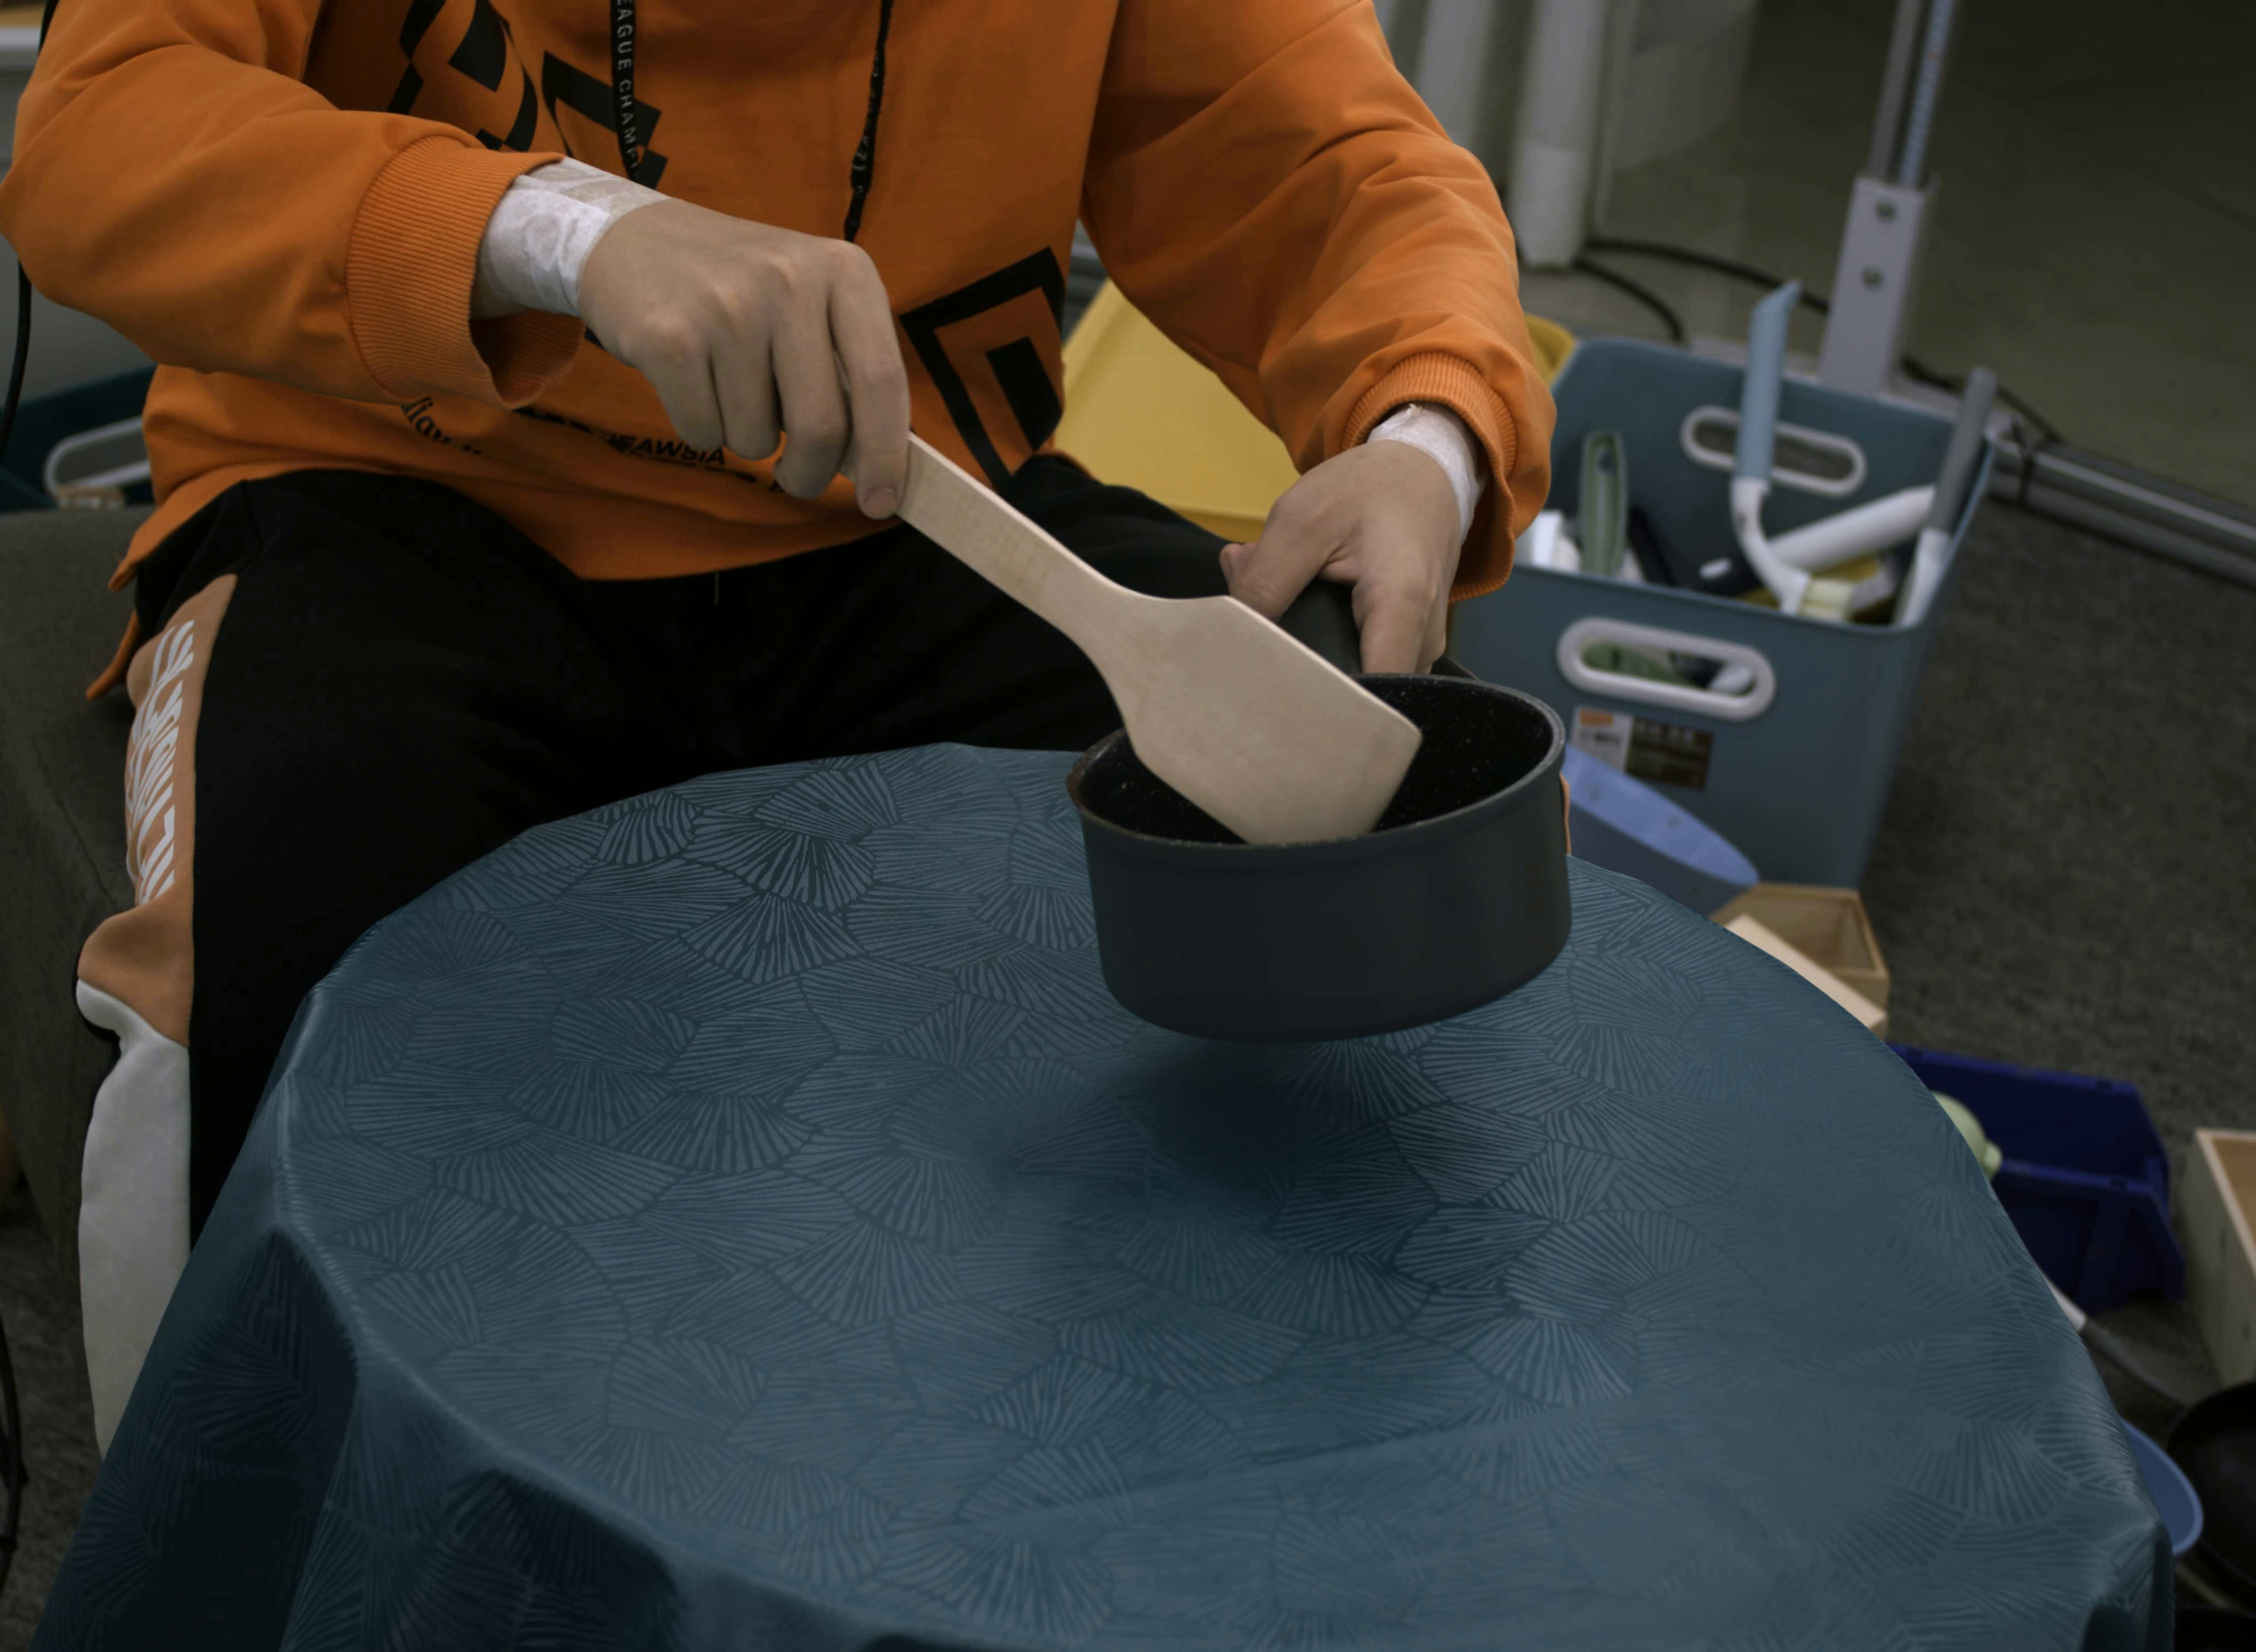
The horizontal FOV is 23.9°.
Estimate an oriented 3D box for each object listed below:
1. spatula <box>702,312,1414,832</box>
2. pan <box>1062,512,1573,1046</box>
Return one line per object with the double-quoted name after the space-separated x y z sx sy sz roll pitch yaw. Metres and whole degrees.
-0.032 -0.089 1.810 0.294 0.072 0.010 36 27 16 "spatula"
0.072 -0.020 1.892 0.172 0.086 0.330 -4 21 6 "pan"
